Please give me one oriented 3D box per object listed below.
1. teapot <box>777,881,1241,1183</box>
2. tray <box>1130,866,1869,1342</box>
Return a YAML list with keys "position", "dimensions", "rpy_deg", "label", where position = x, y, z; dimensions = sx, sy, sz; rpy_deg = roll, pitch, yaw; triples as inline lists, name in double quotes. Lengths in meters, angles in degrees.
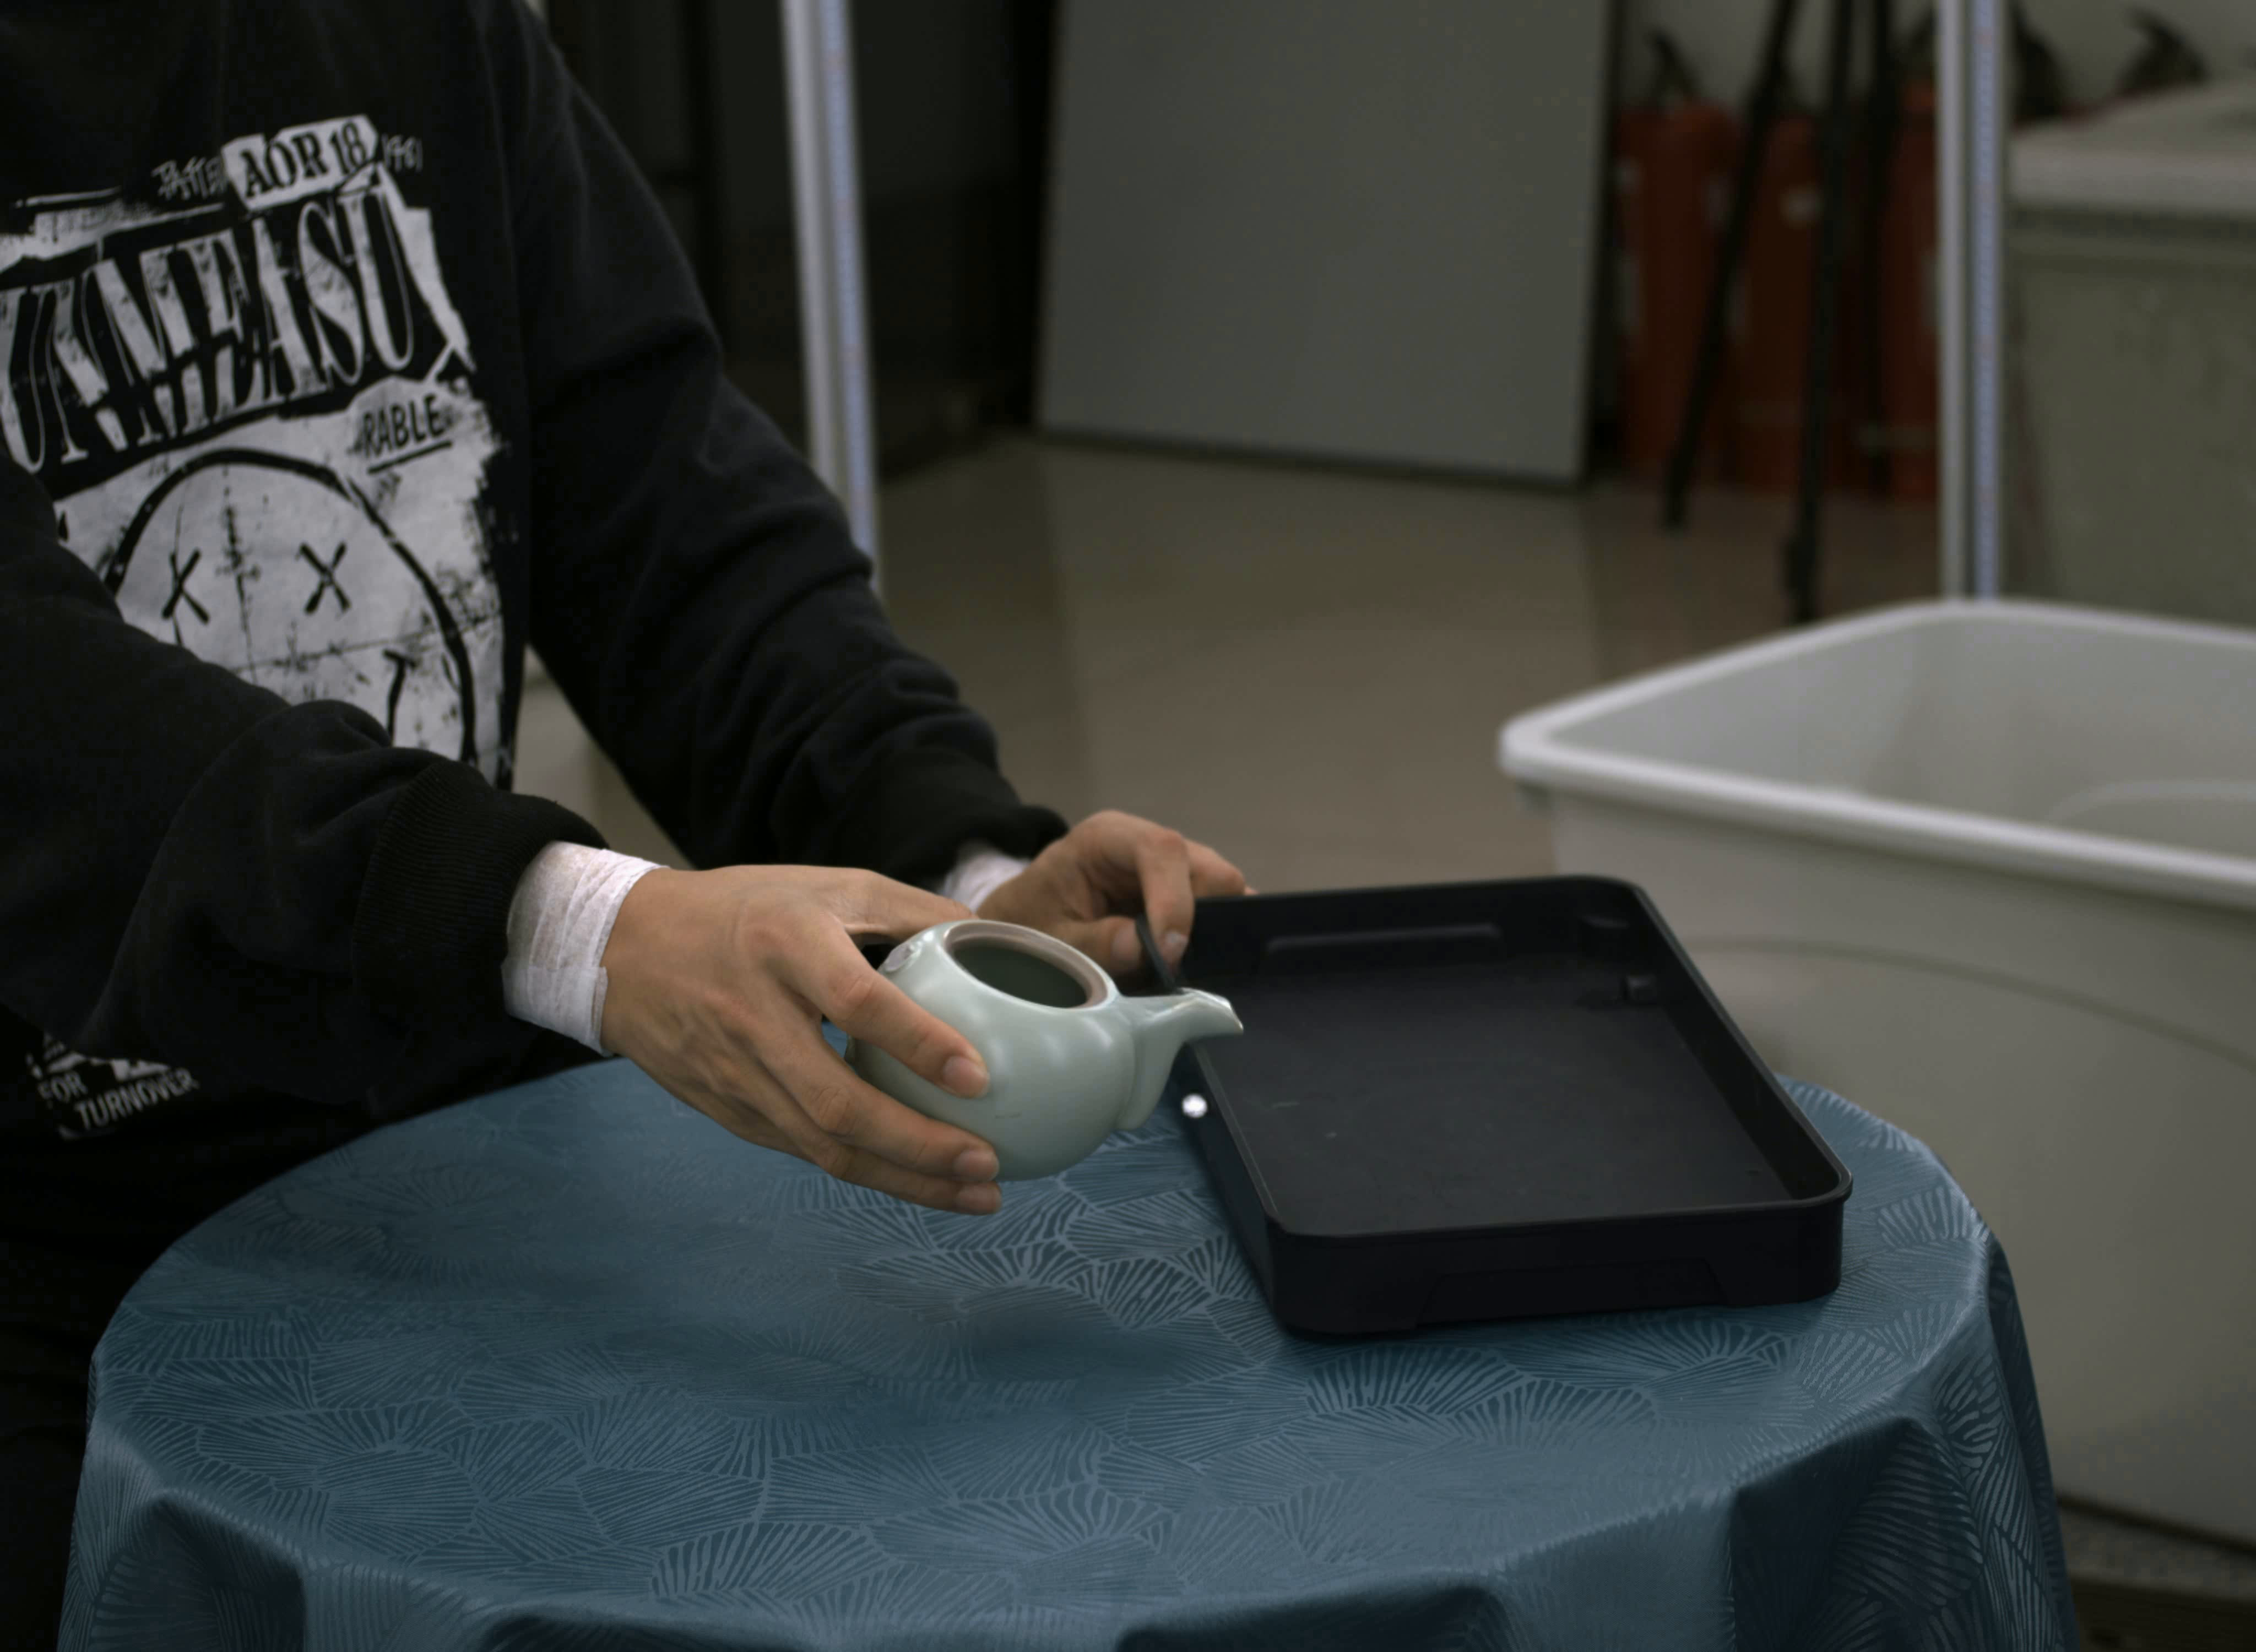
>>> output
- position: [-0.042, 0.067, 1.646]
  dimensions: [0.141, 0.075, 0.089]
  rpy_deg: [17, 20, -10]
  label: "teapot"
- position: [0.113, 0.085, 1.752]
  dimensions: [0.181, 0.037, 0.320]
  rpy_deg: [-3, 19, -9]
  label: "tray"
